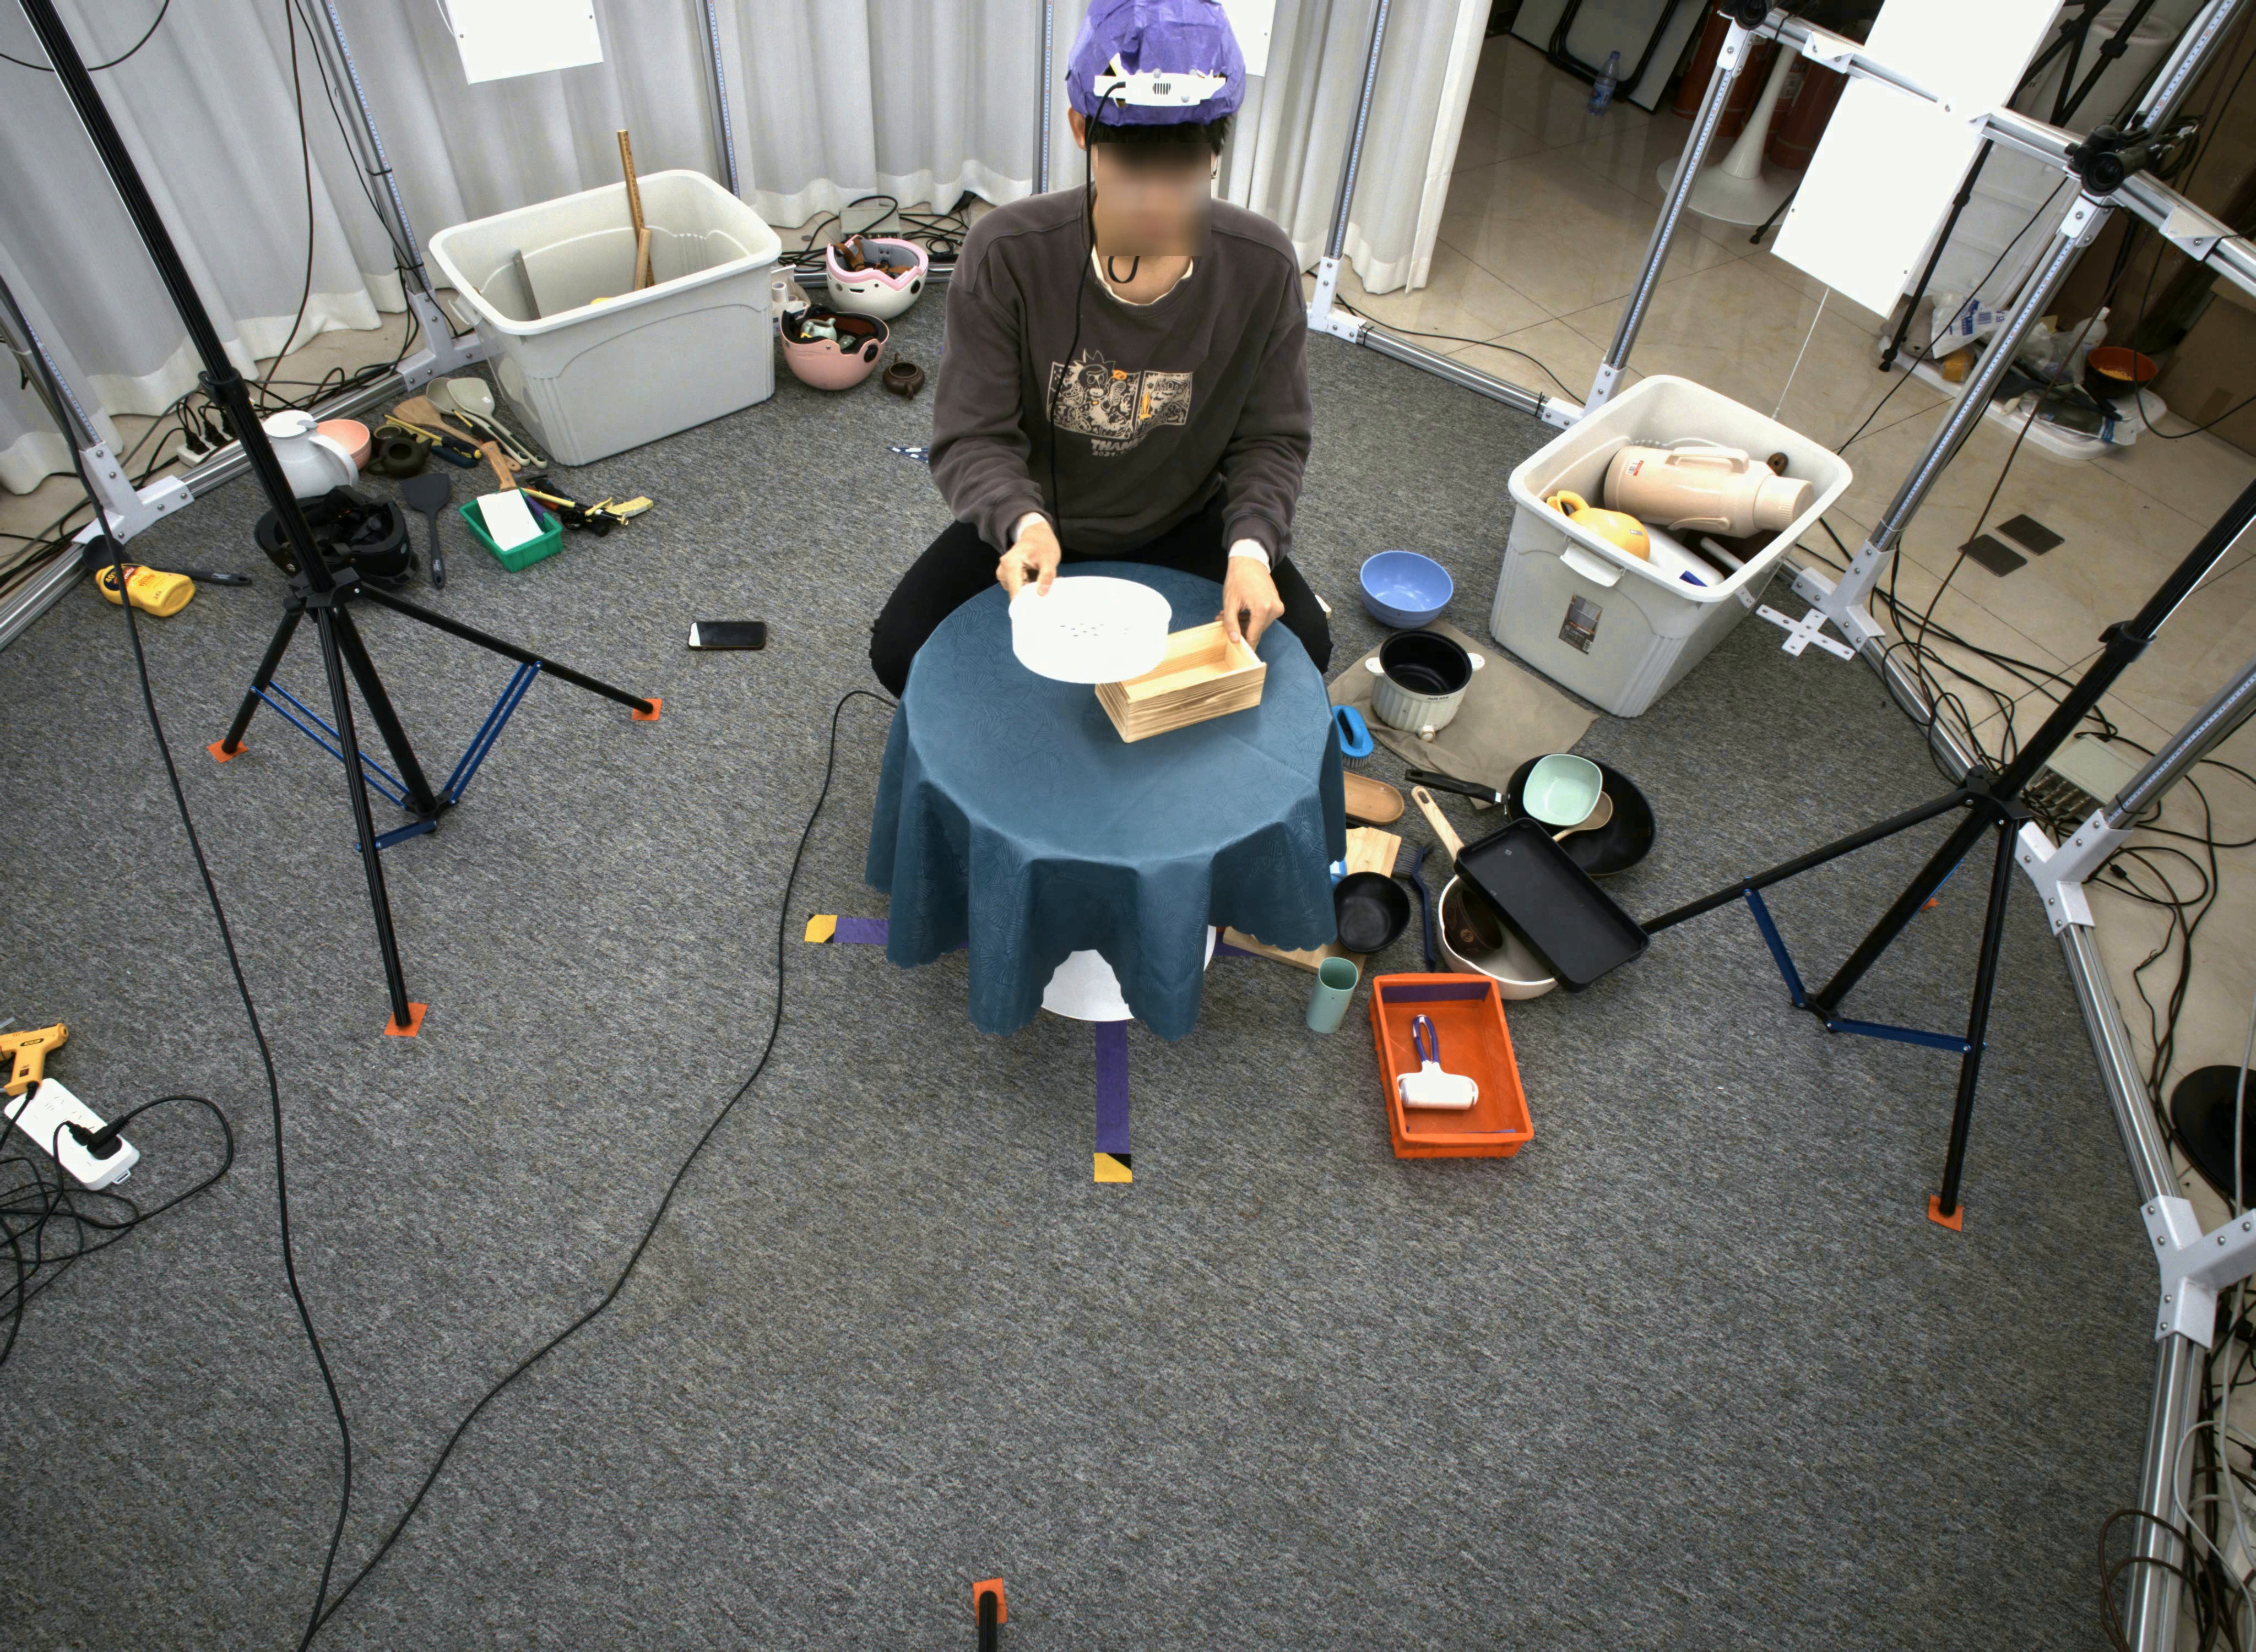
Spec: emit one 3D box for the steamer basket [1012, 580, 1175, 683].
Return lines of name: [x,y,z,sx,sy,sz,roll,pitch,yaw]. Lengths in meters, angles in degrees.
steamer basket: [-0.043,-0.242,1.598,0.202,0.068,0.234,-19,36,-34]

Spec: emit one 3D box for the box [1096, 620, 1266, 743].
box: [0.072,-0.204,1.796,0.211,0.078,0.110,-17,52,-18]
